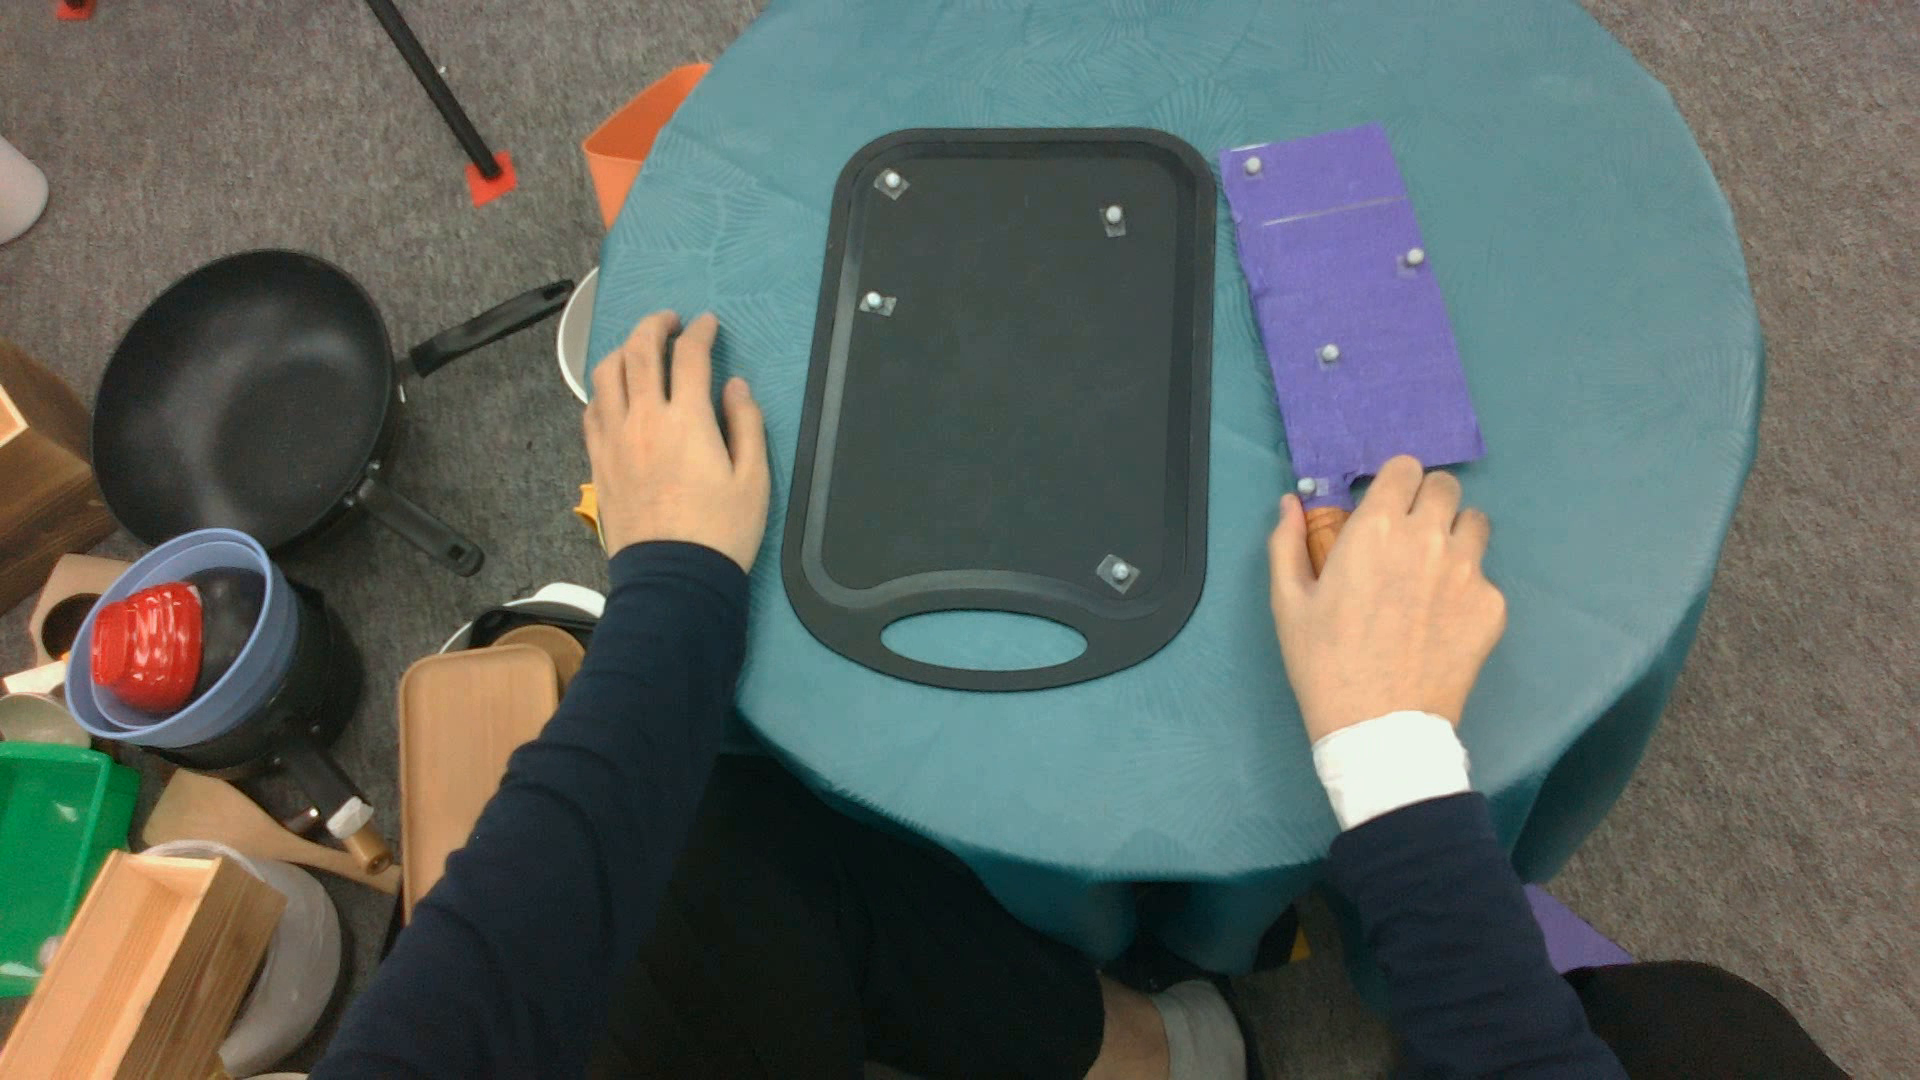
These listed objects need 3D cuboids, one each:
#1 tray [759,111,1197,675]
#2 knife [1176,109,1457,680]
[{"bbox_3d":[0.013,-0.088,0.705,0.211,0.010,0.326,3,68,7],"label":"tray"},{"bbox_3d":[0.188,-0.089,0.677,0.104,0.032,0.316,-9,66,2],"label":"knife"}]
